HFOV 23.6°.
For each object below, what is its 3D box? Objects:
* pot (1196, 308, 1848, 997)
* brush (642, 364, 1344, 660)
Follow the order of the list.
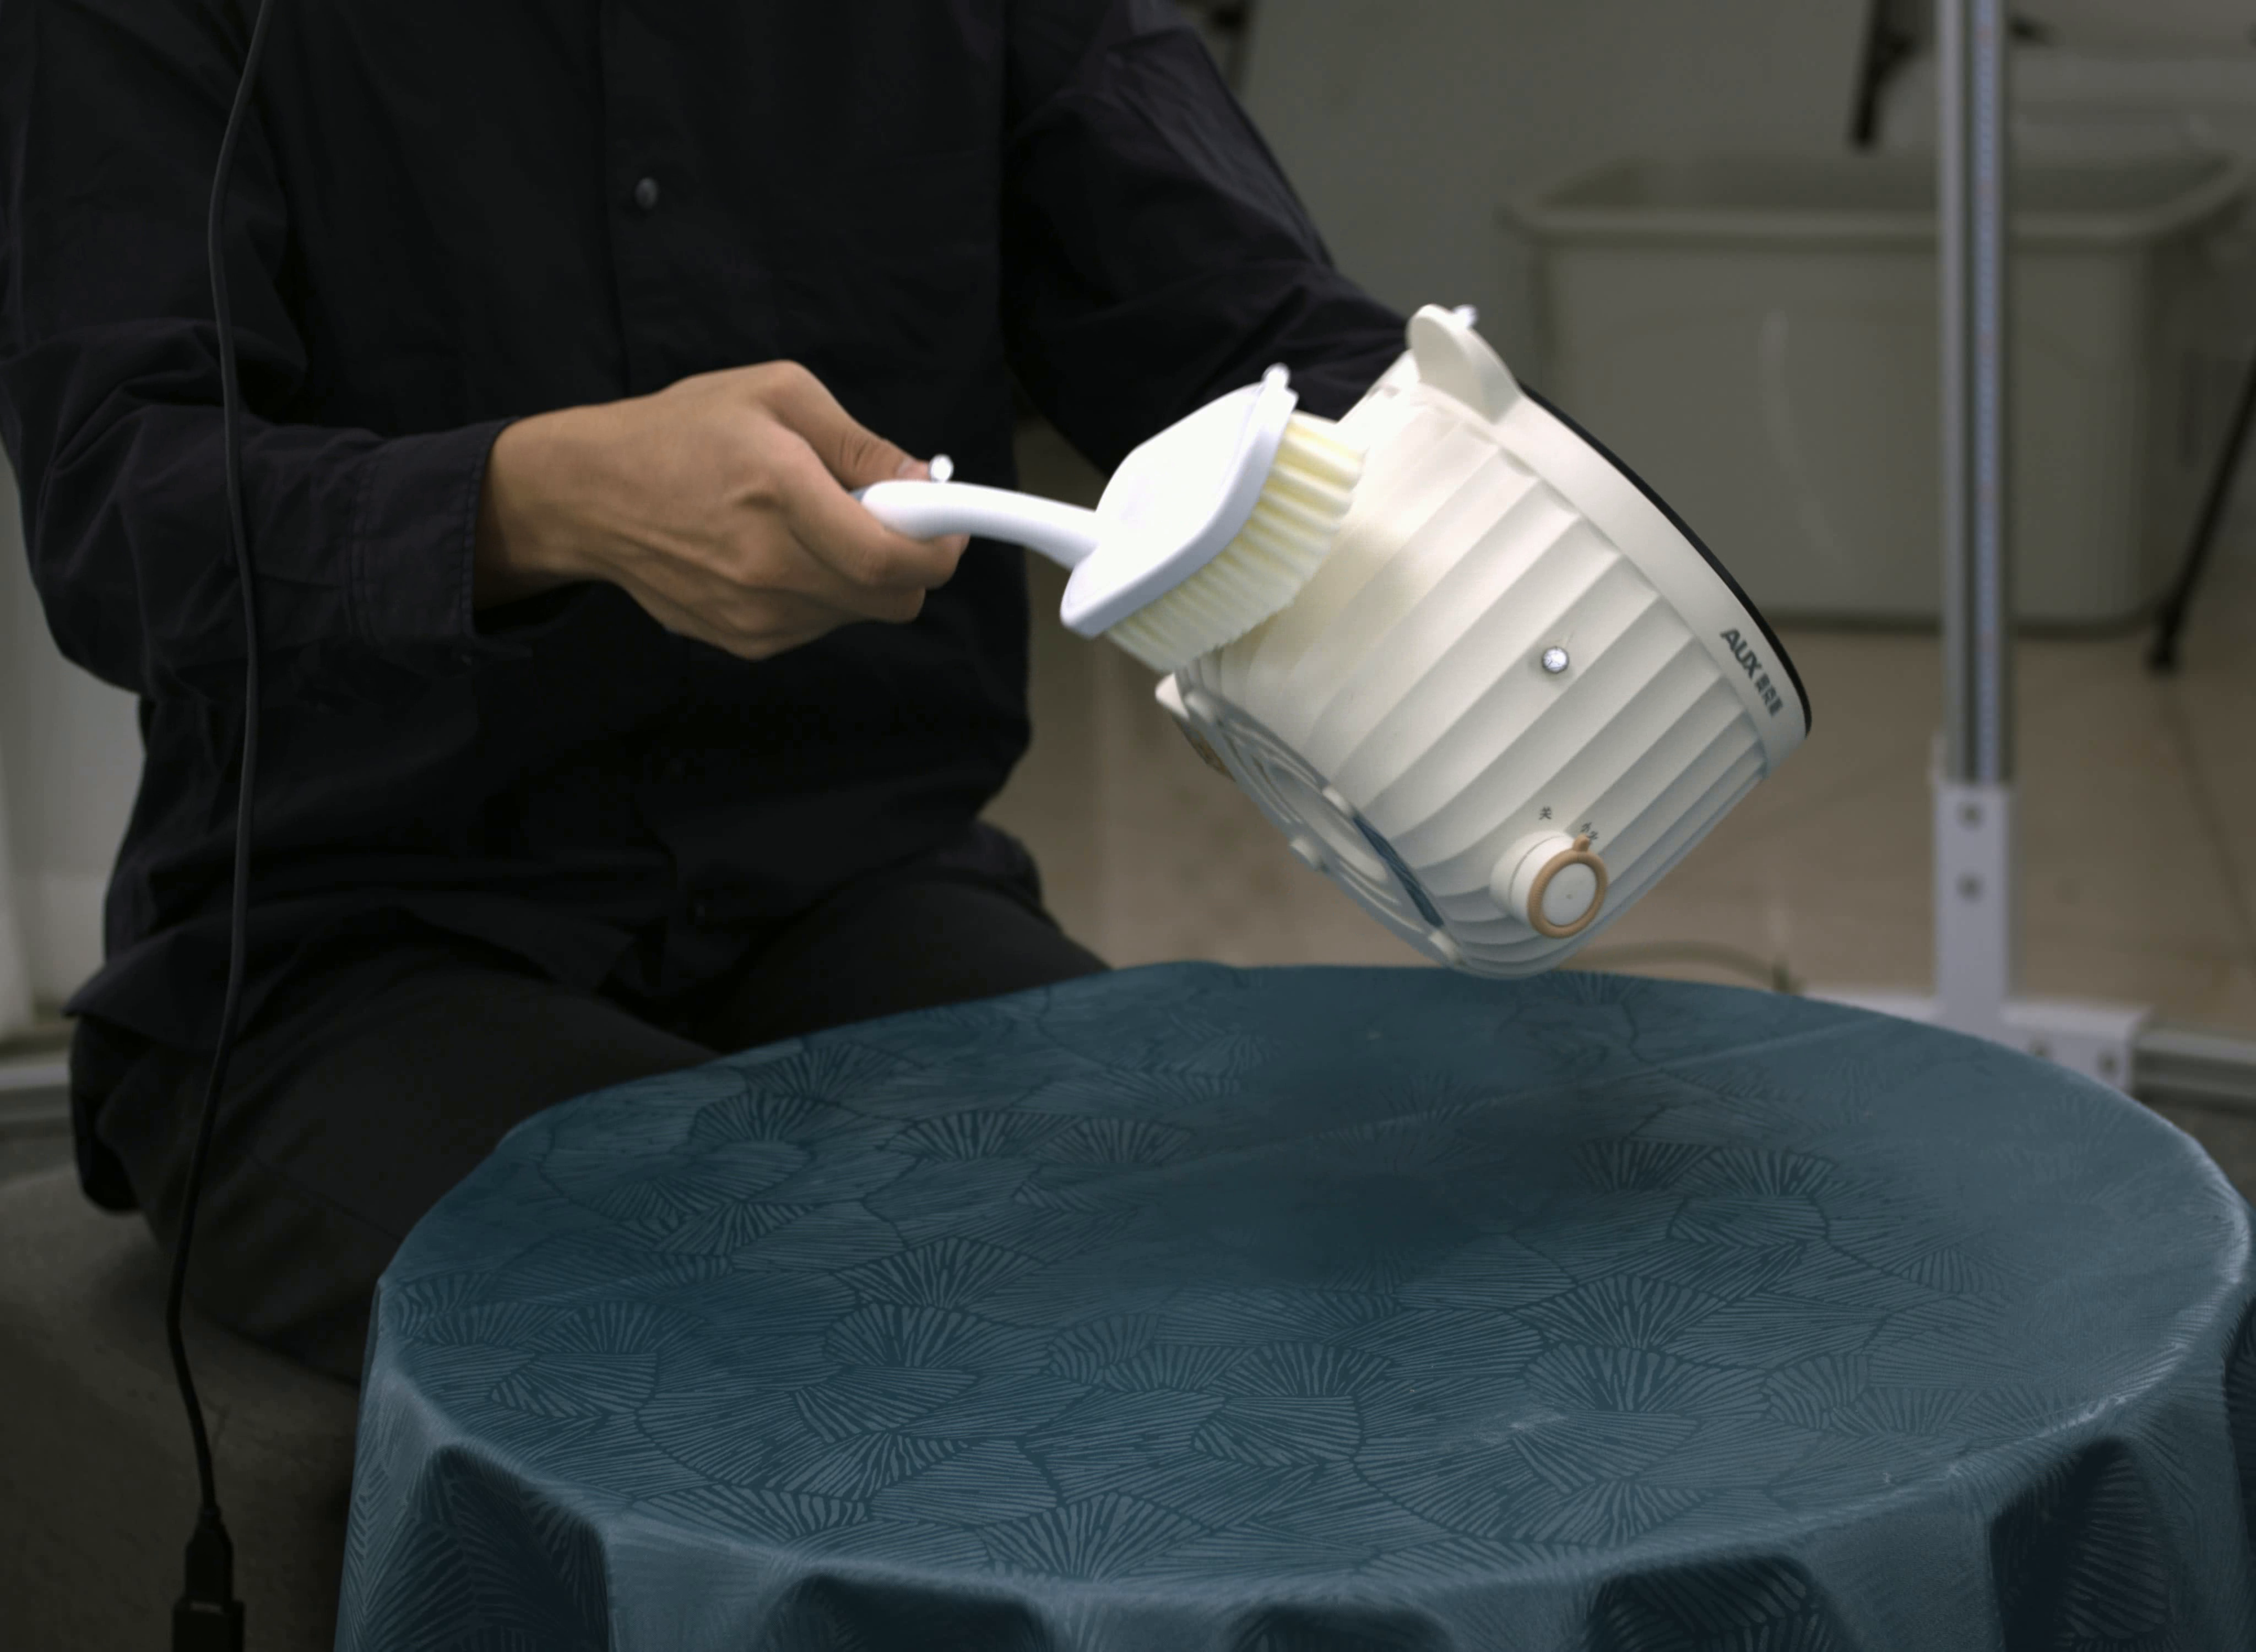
[{"bbox_3d":[0.125,-0.038,1.734,0.142,0.238,0.192,-47,42,-10],"label":"pot"},{"bbox_3d":[-0.035,-0.087,1.722,0.081,0.085,0.328,-28,9,-38],"label":"brush"}]
